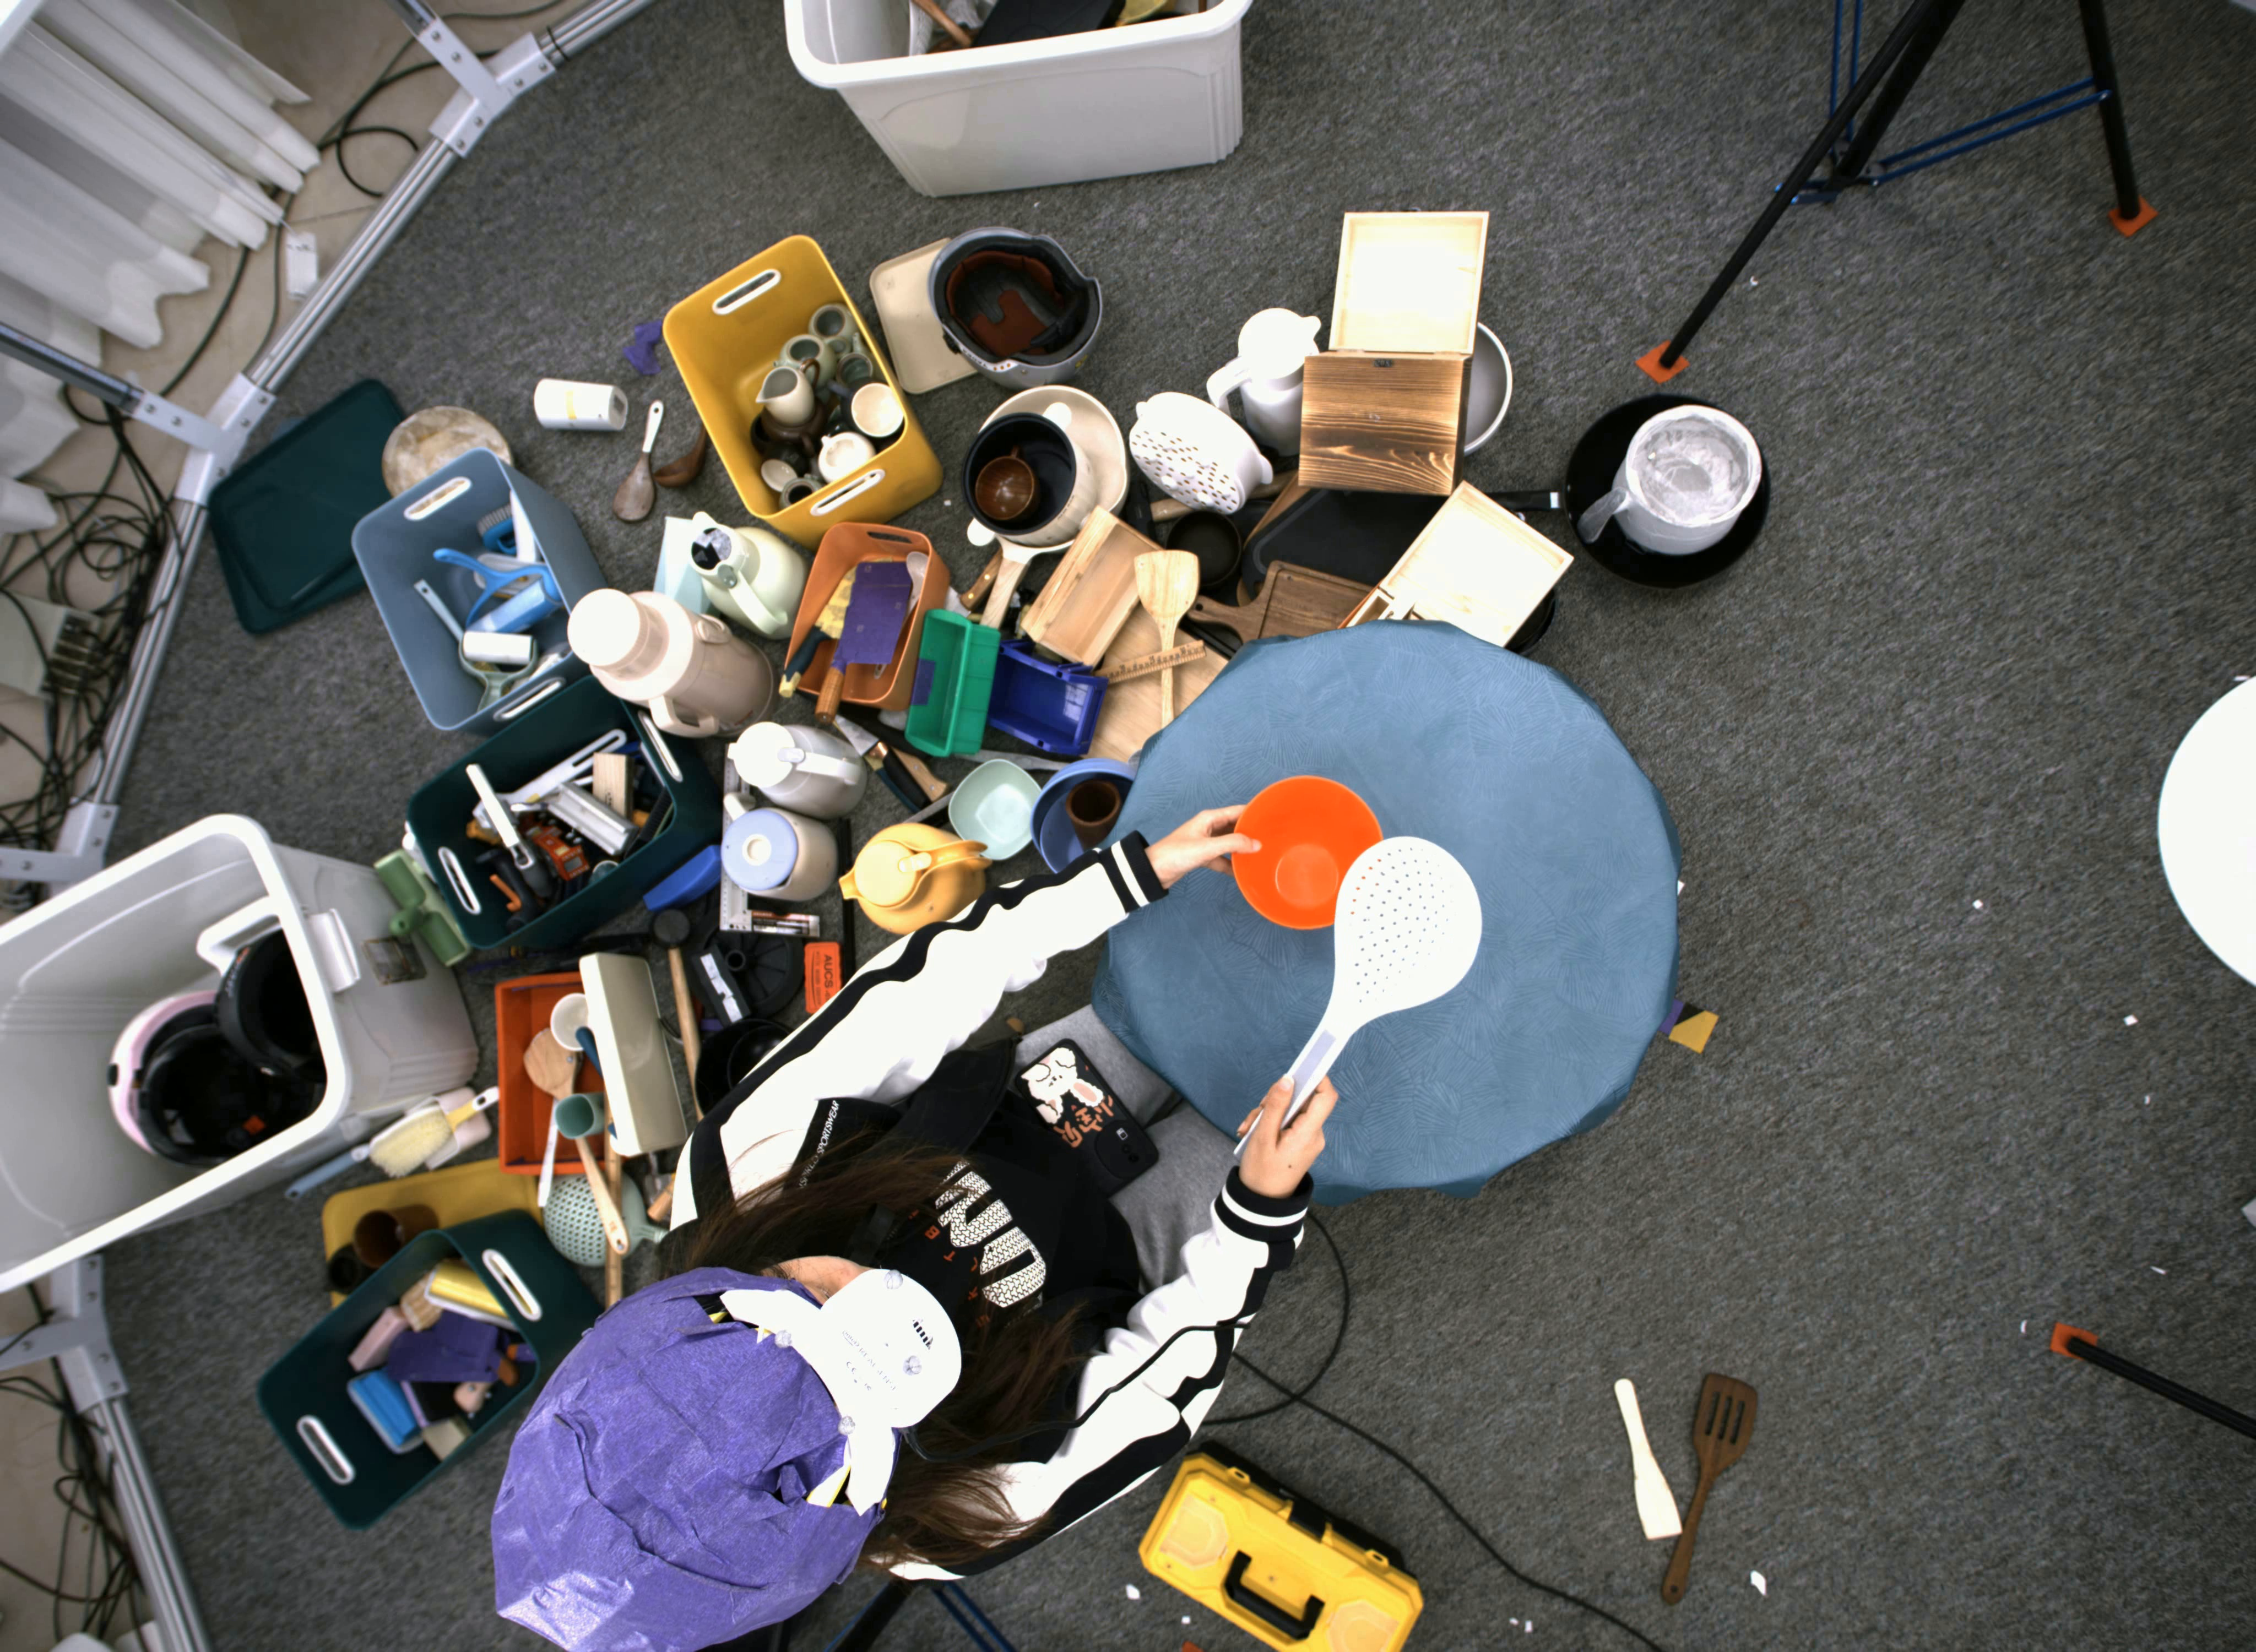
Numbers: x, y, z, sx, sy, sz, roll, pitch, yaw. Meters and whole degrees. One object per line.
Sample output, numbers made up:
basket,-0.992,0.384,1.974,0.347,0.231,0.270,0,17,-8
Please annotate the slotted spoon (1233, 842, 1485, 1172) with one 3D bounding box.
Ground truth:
slotted spoon,0.188,0.167,1.197,0.134,0.045,0.355,45,113,30

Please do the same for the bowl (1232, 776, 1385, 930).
bowl,0.179,0.032,1.378,0.148,0.105,0.147,-1,82,8
